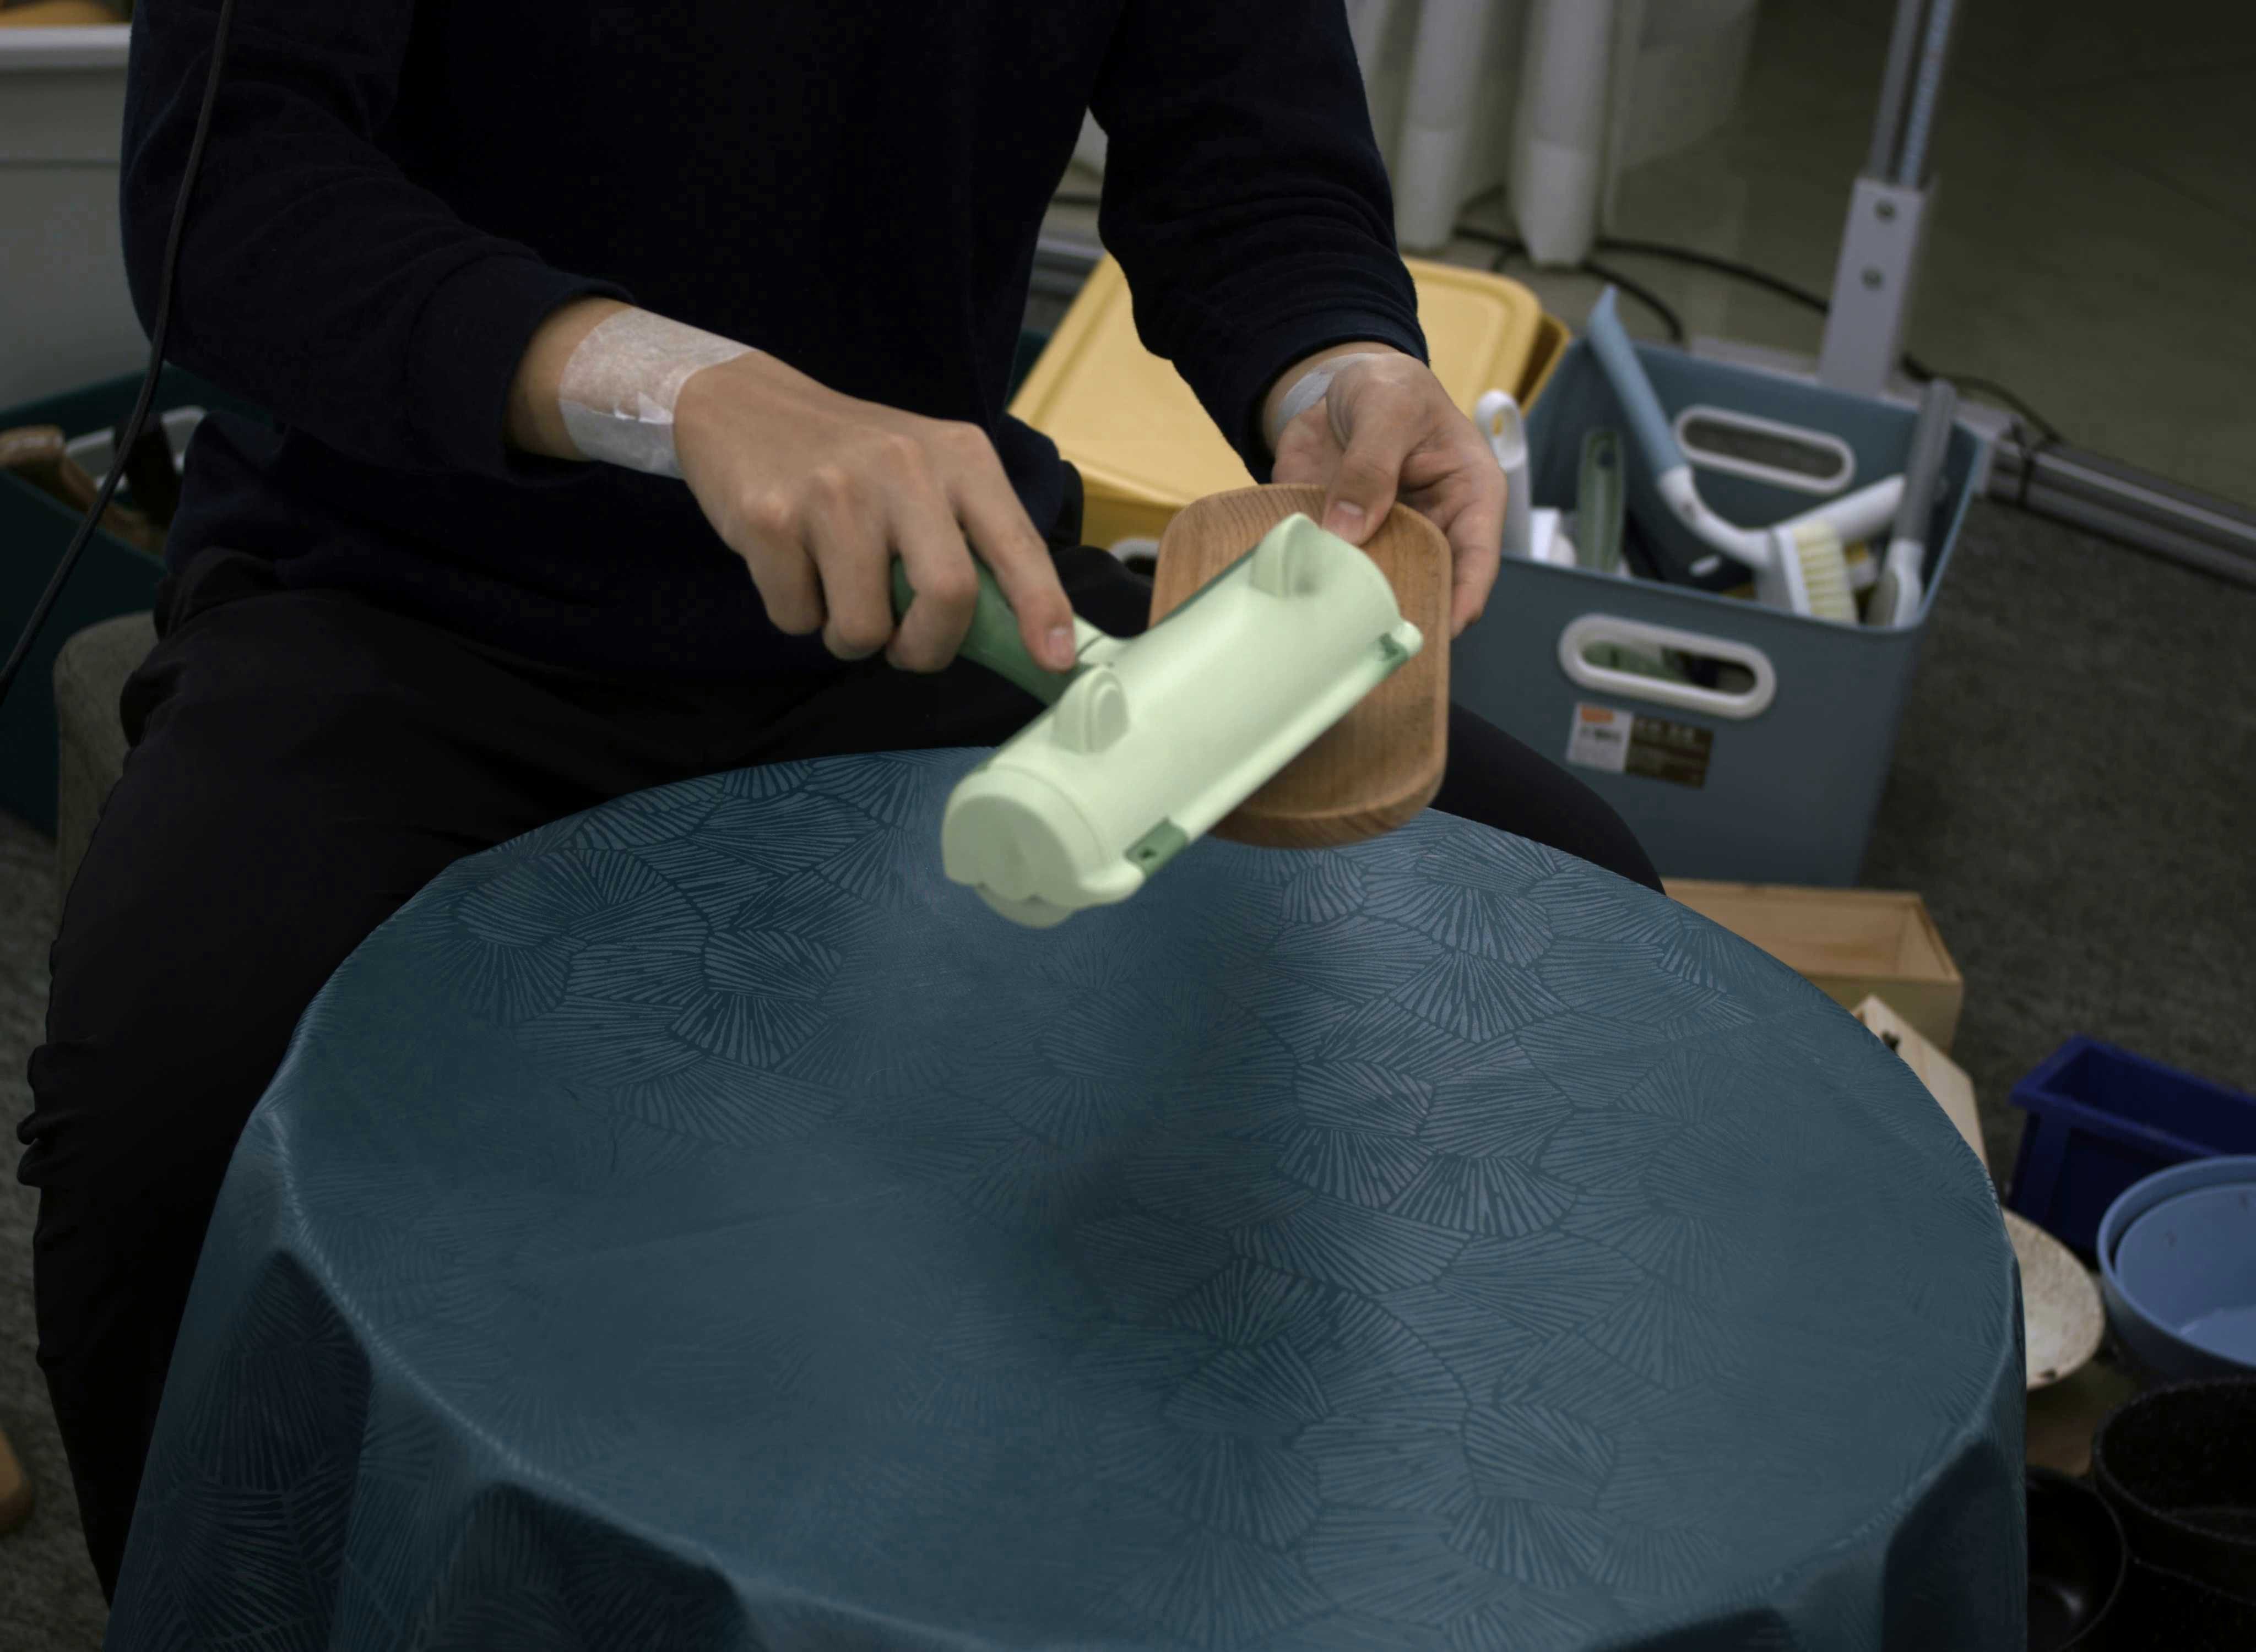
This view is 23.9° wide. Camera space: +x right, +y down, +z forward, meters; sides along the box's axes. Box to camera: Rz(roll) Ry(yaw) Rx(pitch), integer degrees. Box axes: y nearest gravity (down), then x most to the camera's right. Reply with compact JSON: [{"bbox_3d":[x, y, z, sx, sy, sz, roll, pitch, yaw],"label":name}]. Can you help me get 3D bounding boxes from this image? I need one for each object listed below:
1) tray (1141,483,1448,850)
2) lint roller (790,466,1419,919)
[{"bbox_3d":[0.054,-0.055,1.754,0.101,0.020,0.232,2,31,3],"label":"tray"},{"bbox_3d":[-0.025,-0.074,1.661,0.184,0.082,0.198,38,42,12],"label":"lint roller"}]
